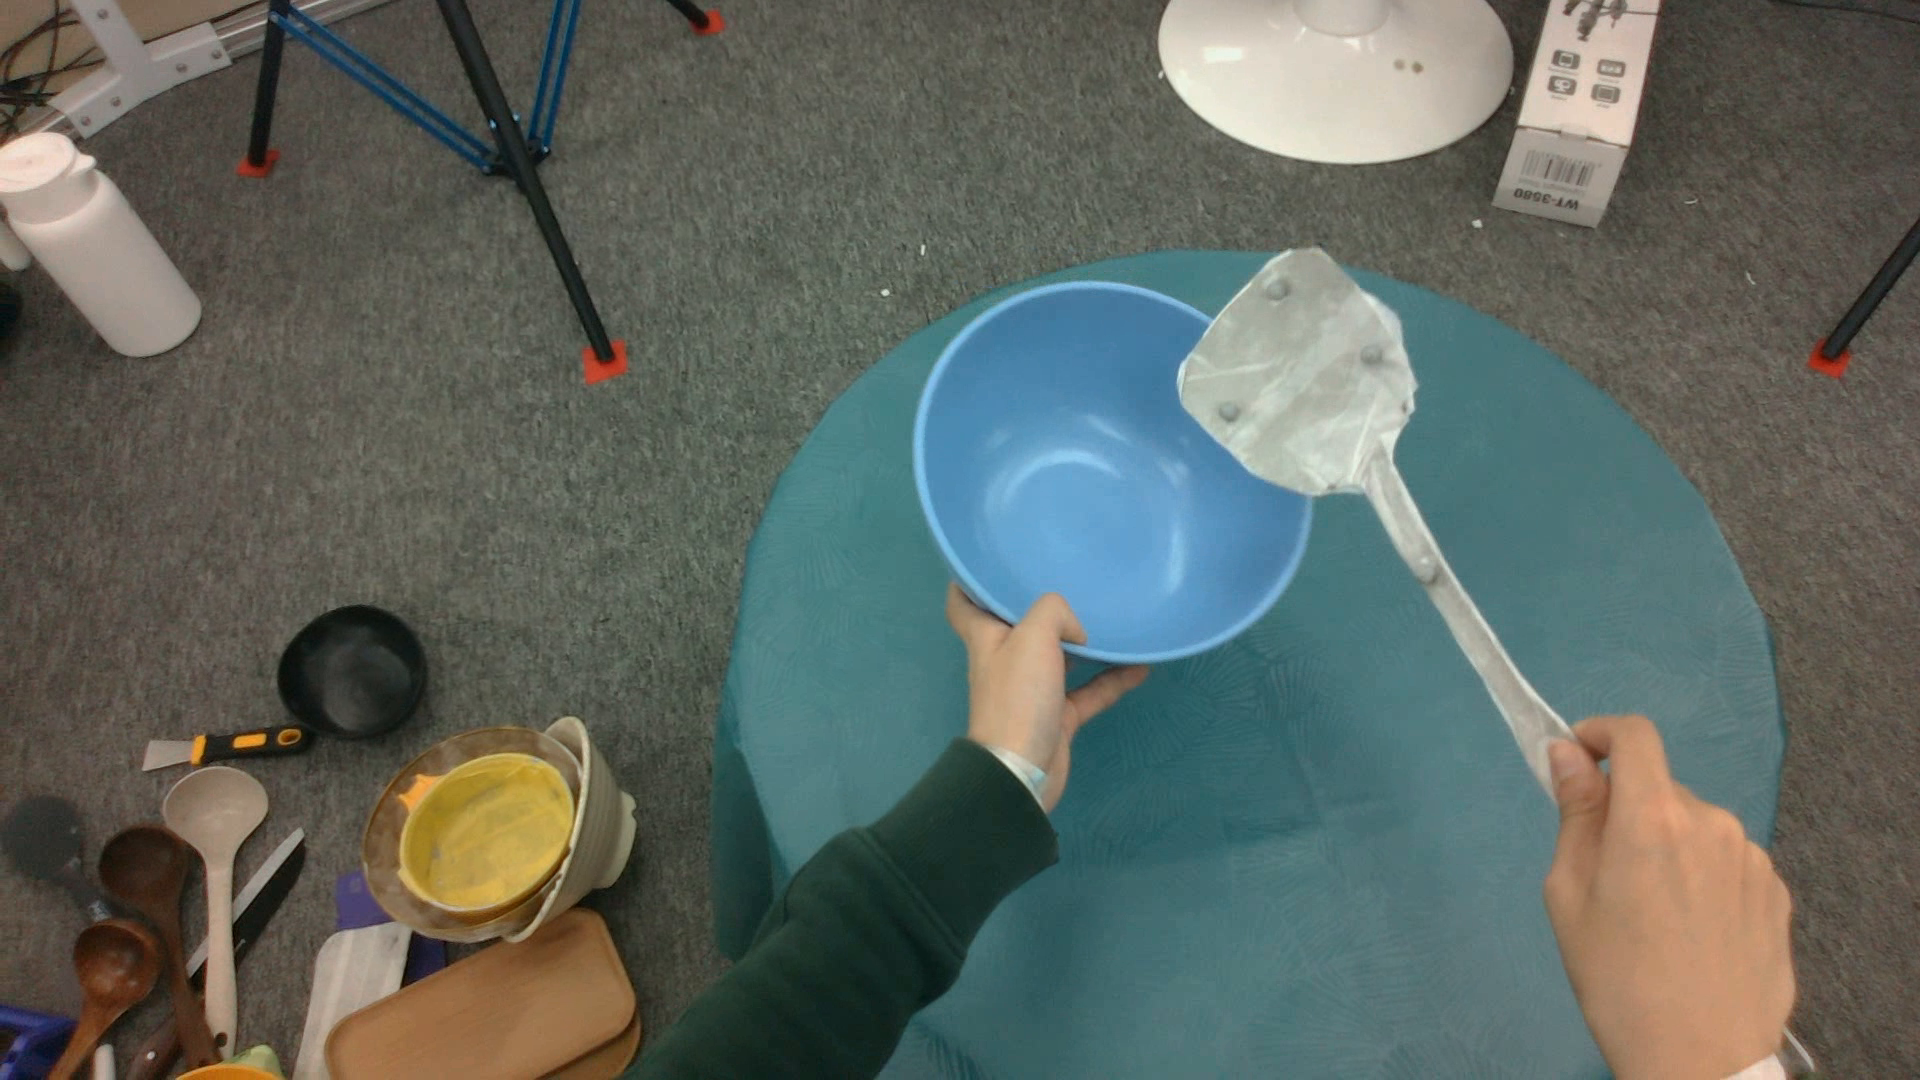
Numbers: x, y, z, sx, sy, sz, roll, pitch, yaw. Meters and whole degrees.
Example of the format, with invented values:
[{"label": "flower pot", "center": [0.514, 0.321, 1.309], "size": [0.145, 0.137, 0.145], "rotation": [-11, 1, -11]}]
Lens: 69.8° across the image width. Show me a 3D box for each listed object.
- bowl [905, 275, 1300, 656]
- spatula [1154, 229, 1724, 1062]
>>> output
[{"label": "bowl", "center": [0.062, -0.025, 0.700], "size": [0.196, 0.095, 0.197], "rotation": [4, 69, -10]}, {"label": "spatula", "center": [0.186, 0.026, 0.546], "size": [0.045, 0.098, 0.366], "rotation": [11, 44, -40]}]
